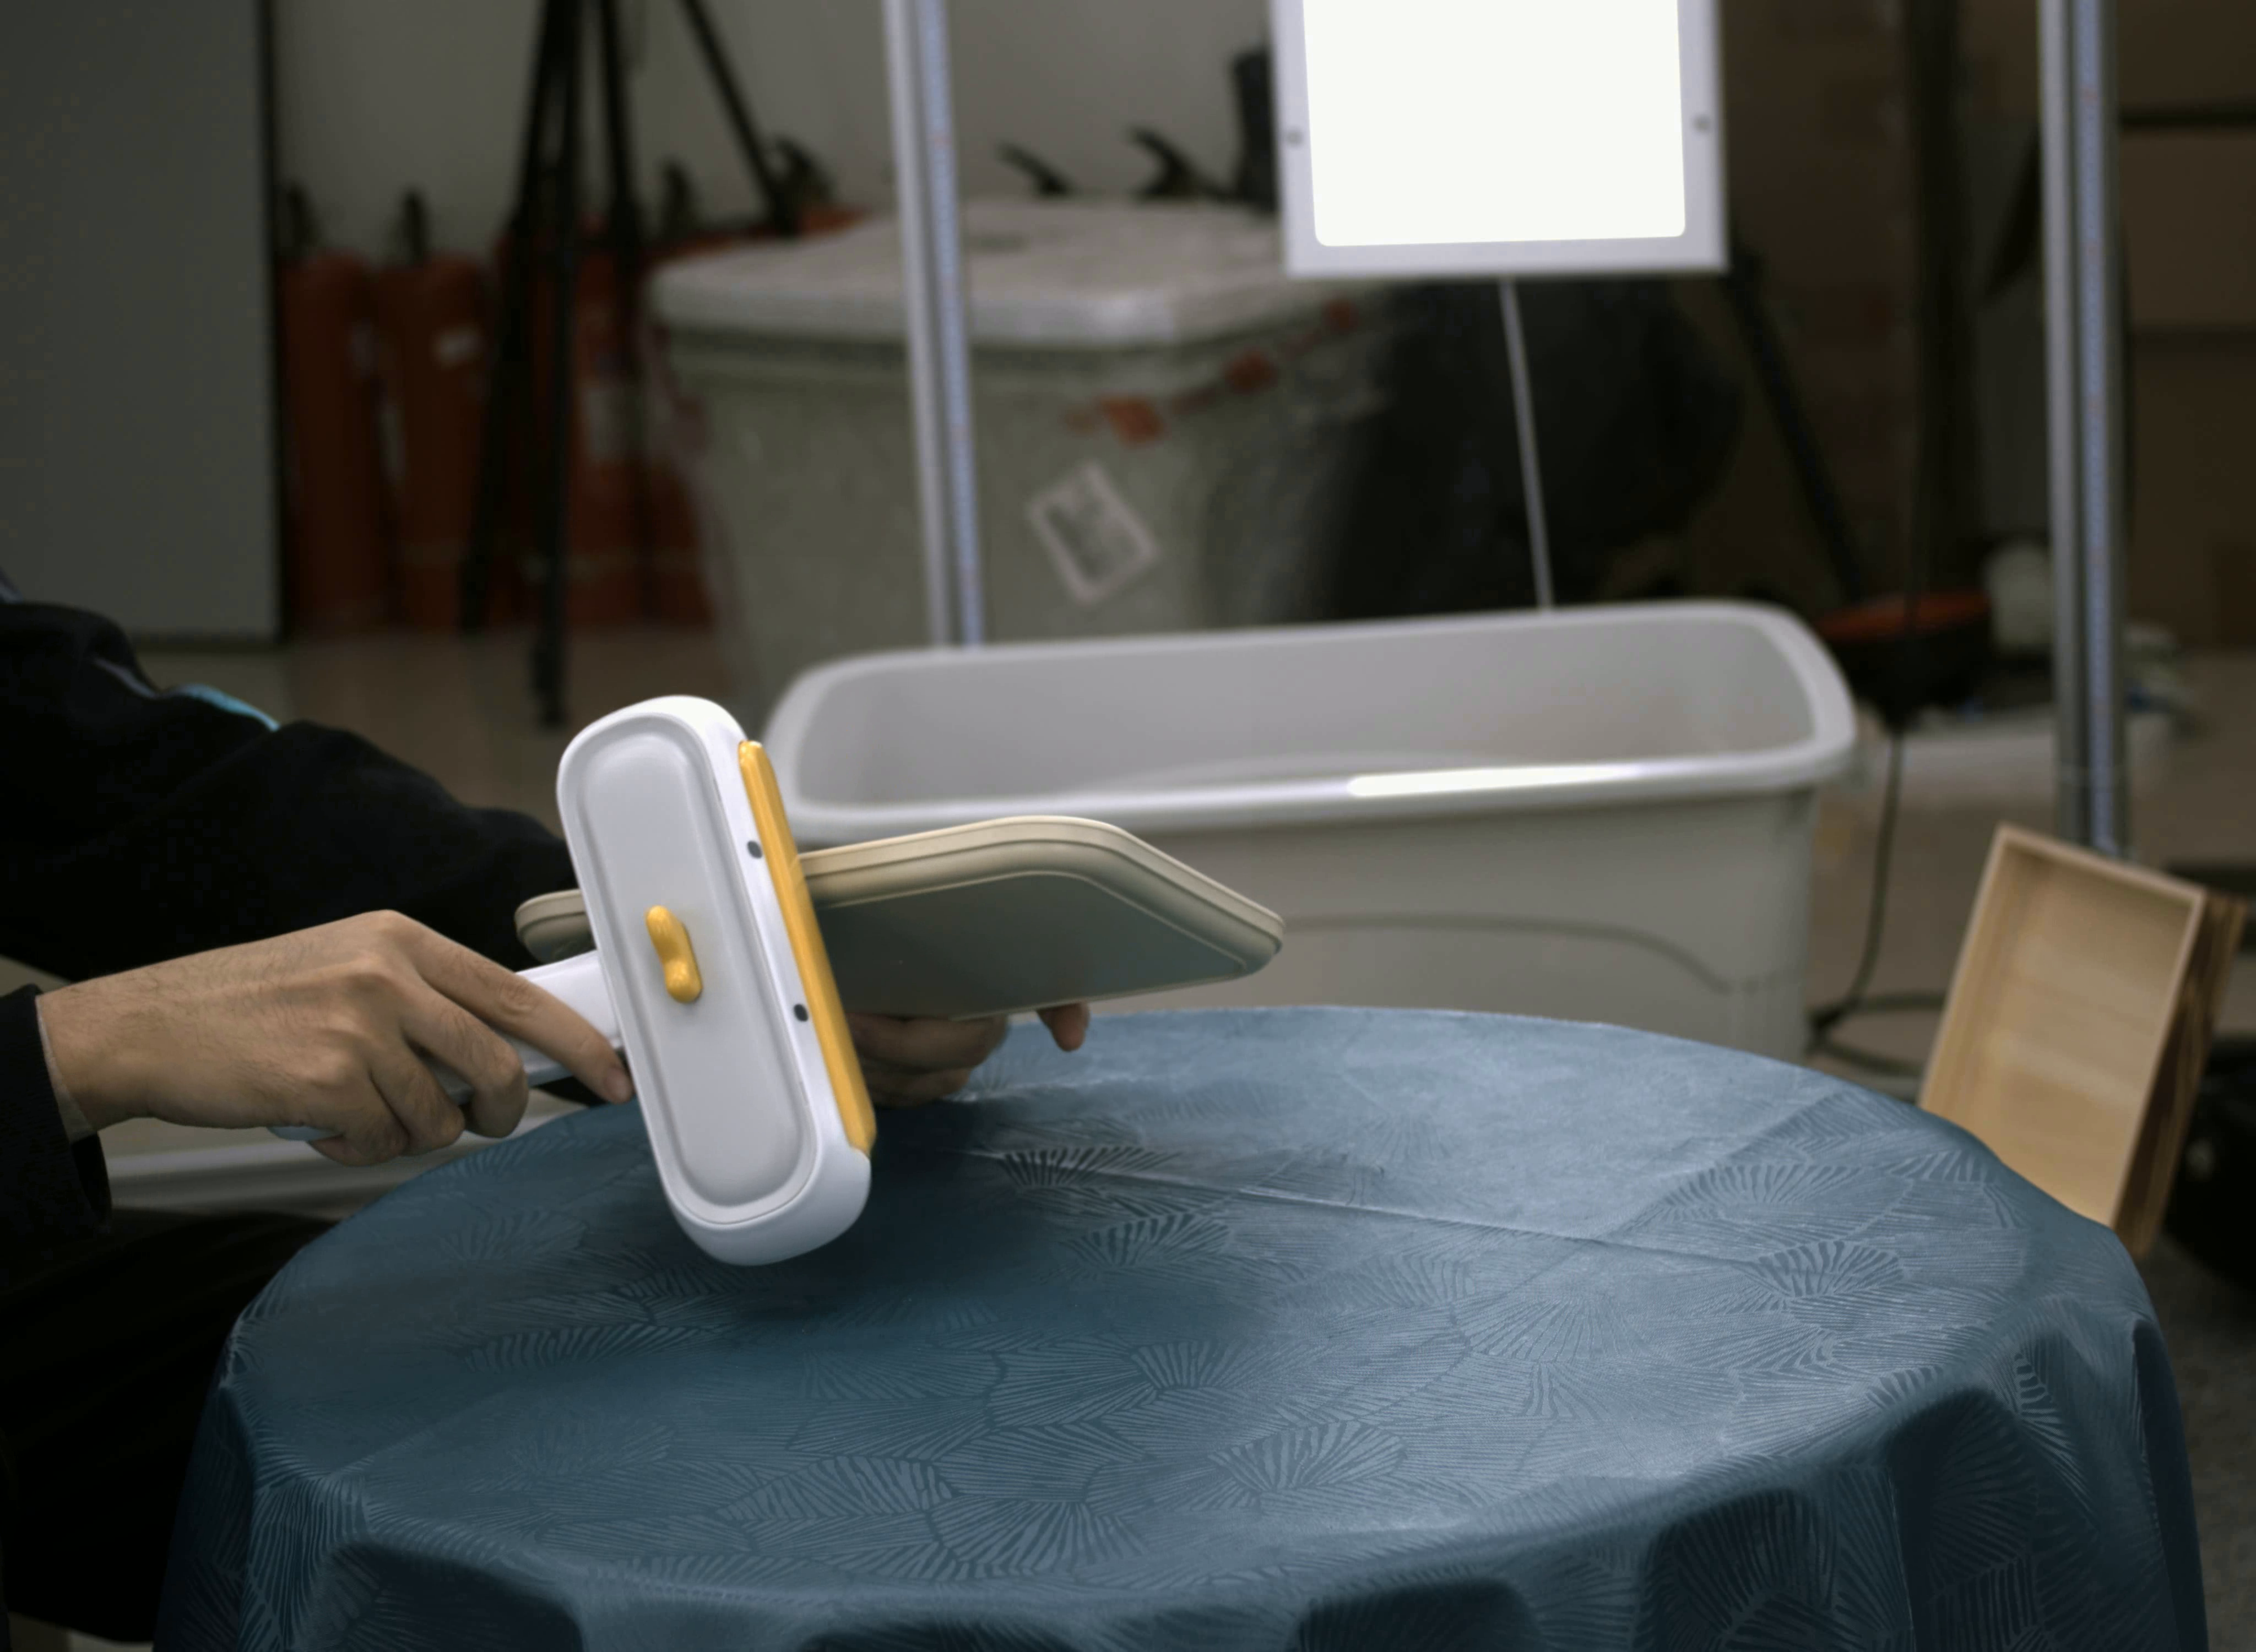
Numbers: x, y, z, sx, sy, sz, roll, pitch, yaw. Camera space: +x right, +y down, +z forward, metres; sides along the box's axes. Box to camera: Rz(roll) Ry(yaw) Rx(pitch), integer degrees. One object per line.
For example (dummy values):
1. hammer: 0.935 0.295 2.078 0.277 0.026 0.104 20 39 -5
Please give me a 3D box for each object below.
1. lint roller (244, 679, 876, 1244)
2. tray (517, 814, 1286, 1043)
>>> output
1. lint roller: -0.195 0.064 1.811 0.192 0.193 0.074 -22 -12 4
2. tray: -0.078 0.041 1.907 0.244 0.017 0.168 -10 -21 29
